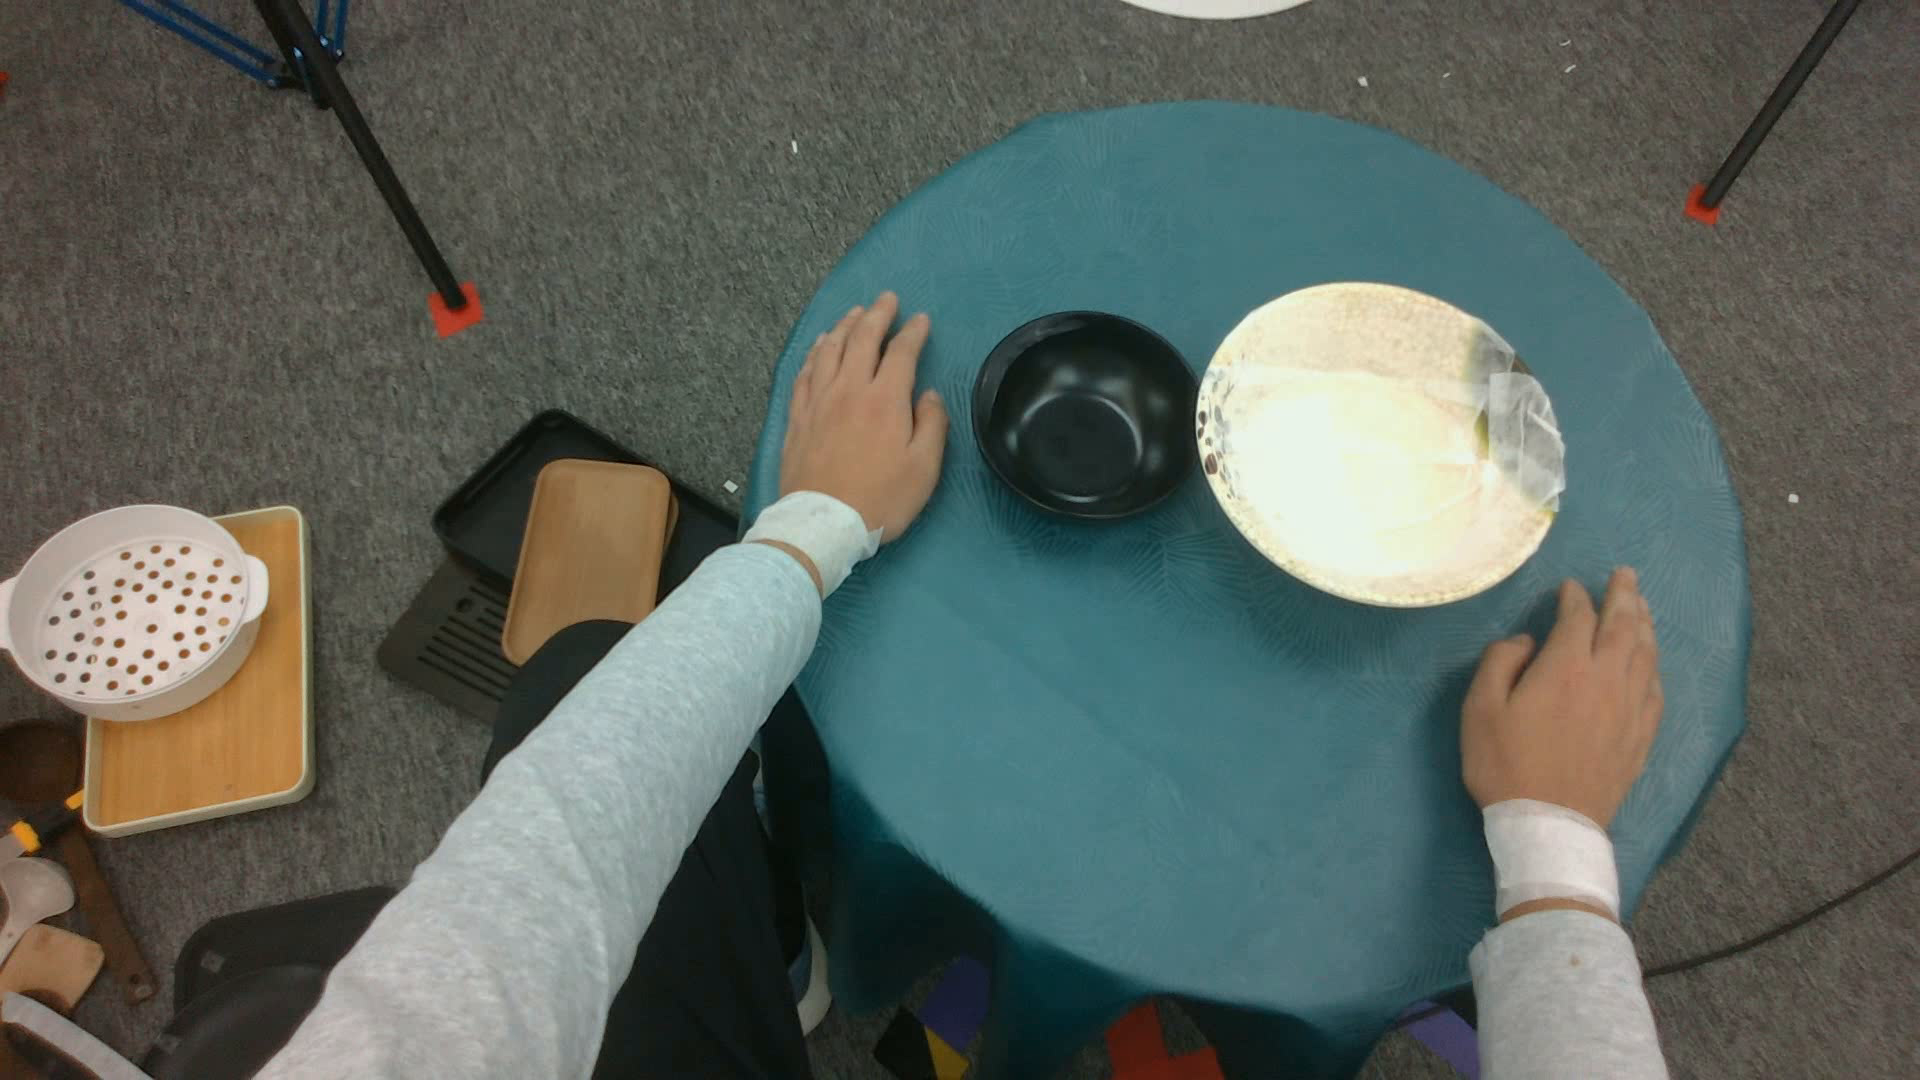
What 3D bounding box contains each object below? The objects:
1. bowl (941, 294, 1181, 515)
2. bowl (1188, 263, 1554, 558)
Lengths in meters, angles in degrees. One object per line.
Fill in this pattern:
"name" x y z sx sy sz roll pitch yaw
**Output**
"bowl" 0.058 -0.074 0.819 0.140 0.049 0.140 0 70 0
"bowl" 0.225 -0.059 0.793 0.204 0.077 0.205 2 58 -3
